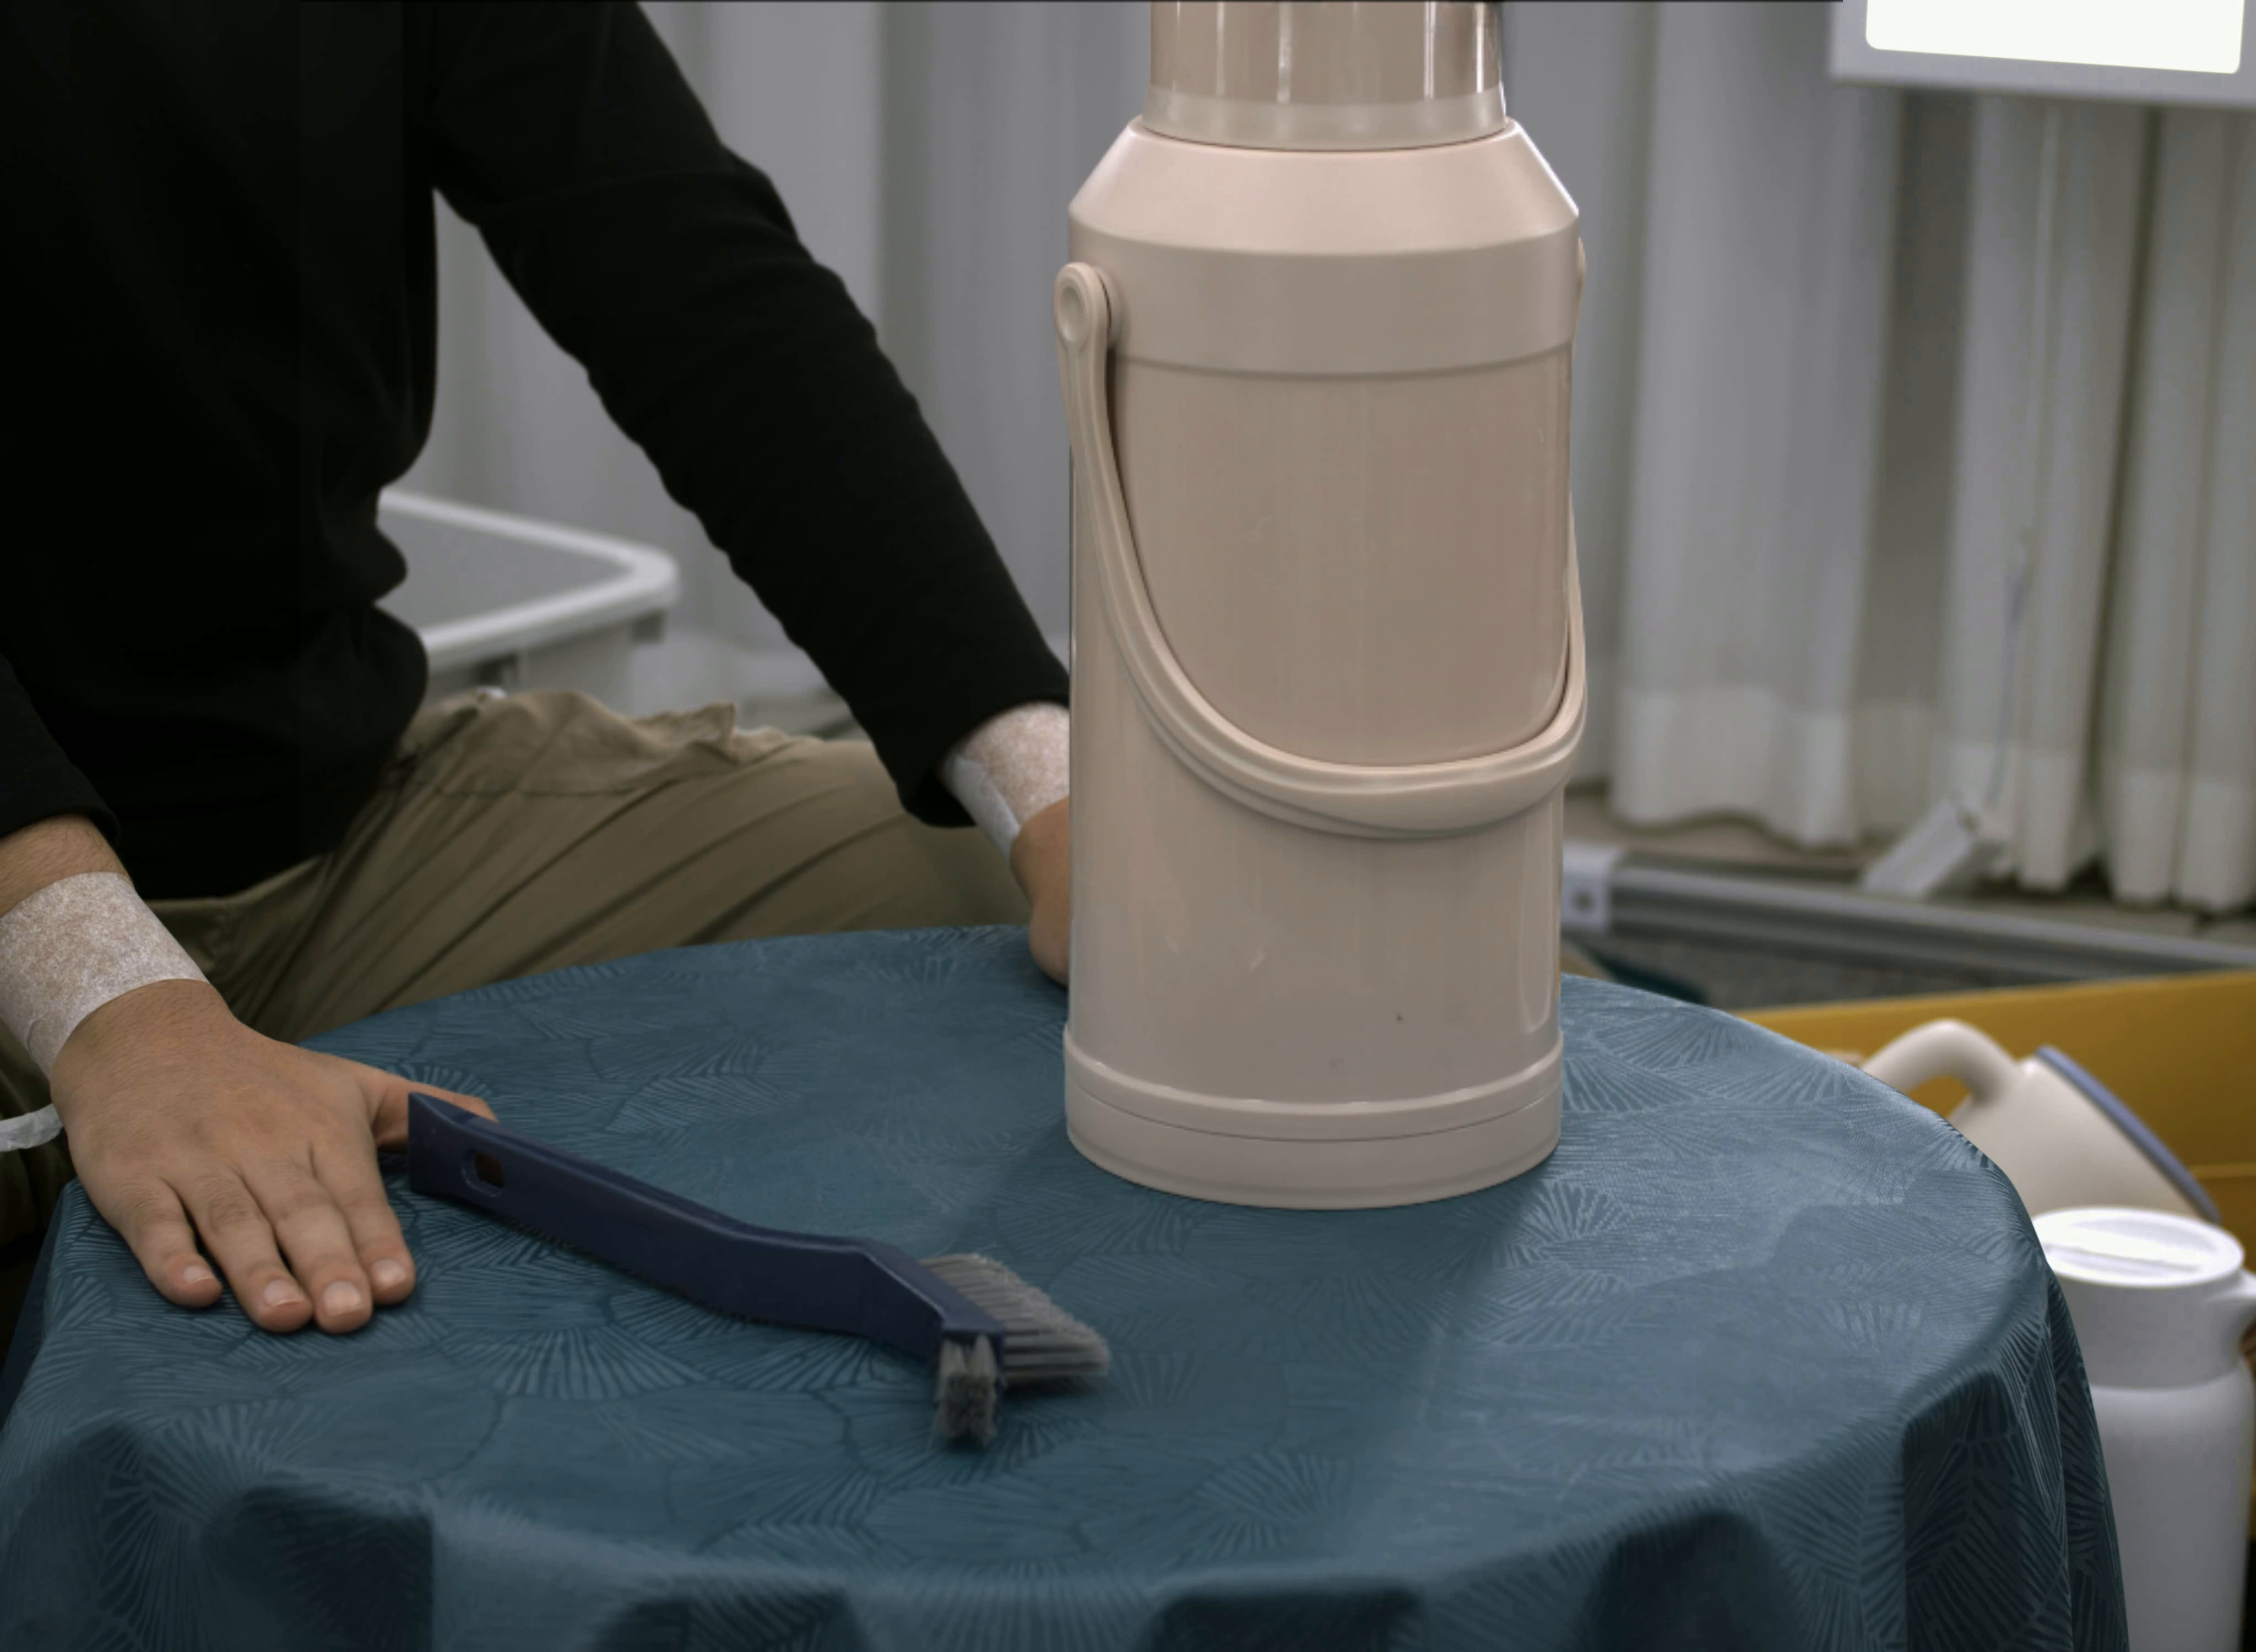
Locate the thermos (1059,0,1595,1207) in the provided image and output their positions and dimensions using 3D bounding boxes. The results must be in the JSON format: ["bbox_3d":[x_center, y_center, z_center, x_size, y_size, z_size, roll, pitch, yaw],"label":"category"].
[{"bbox_3d":[0.056,-0.099,1.638,0.176,0.410,0.204,-11,20,-28],"label":"thermos"}]

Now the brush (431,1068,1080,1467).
[{"bbox_3d":[-0.126,0.123,1.515,0.269,0.034,0.096,15,20,36],"label":"brush"}]
